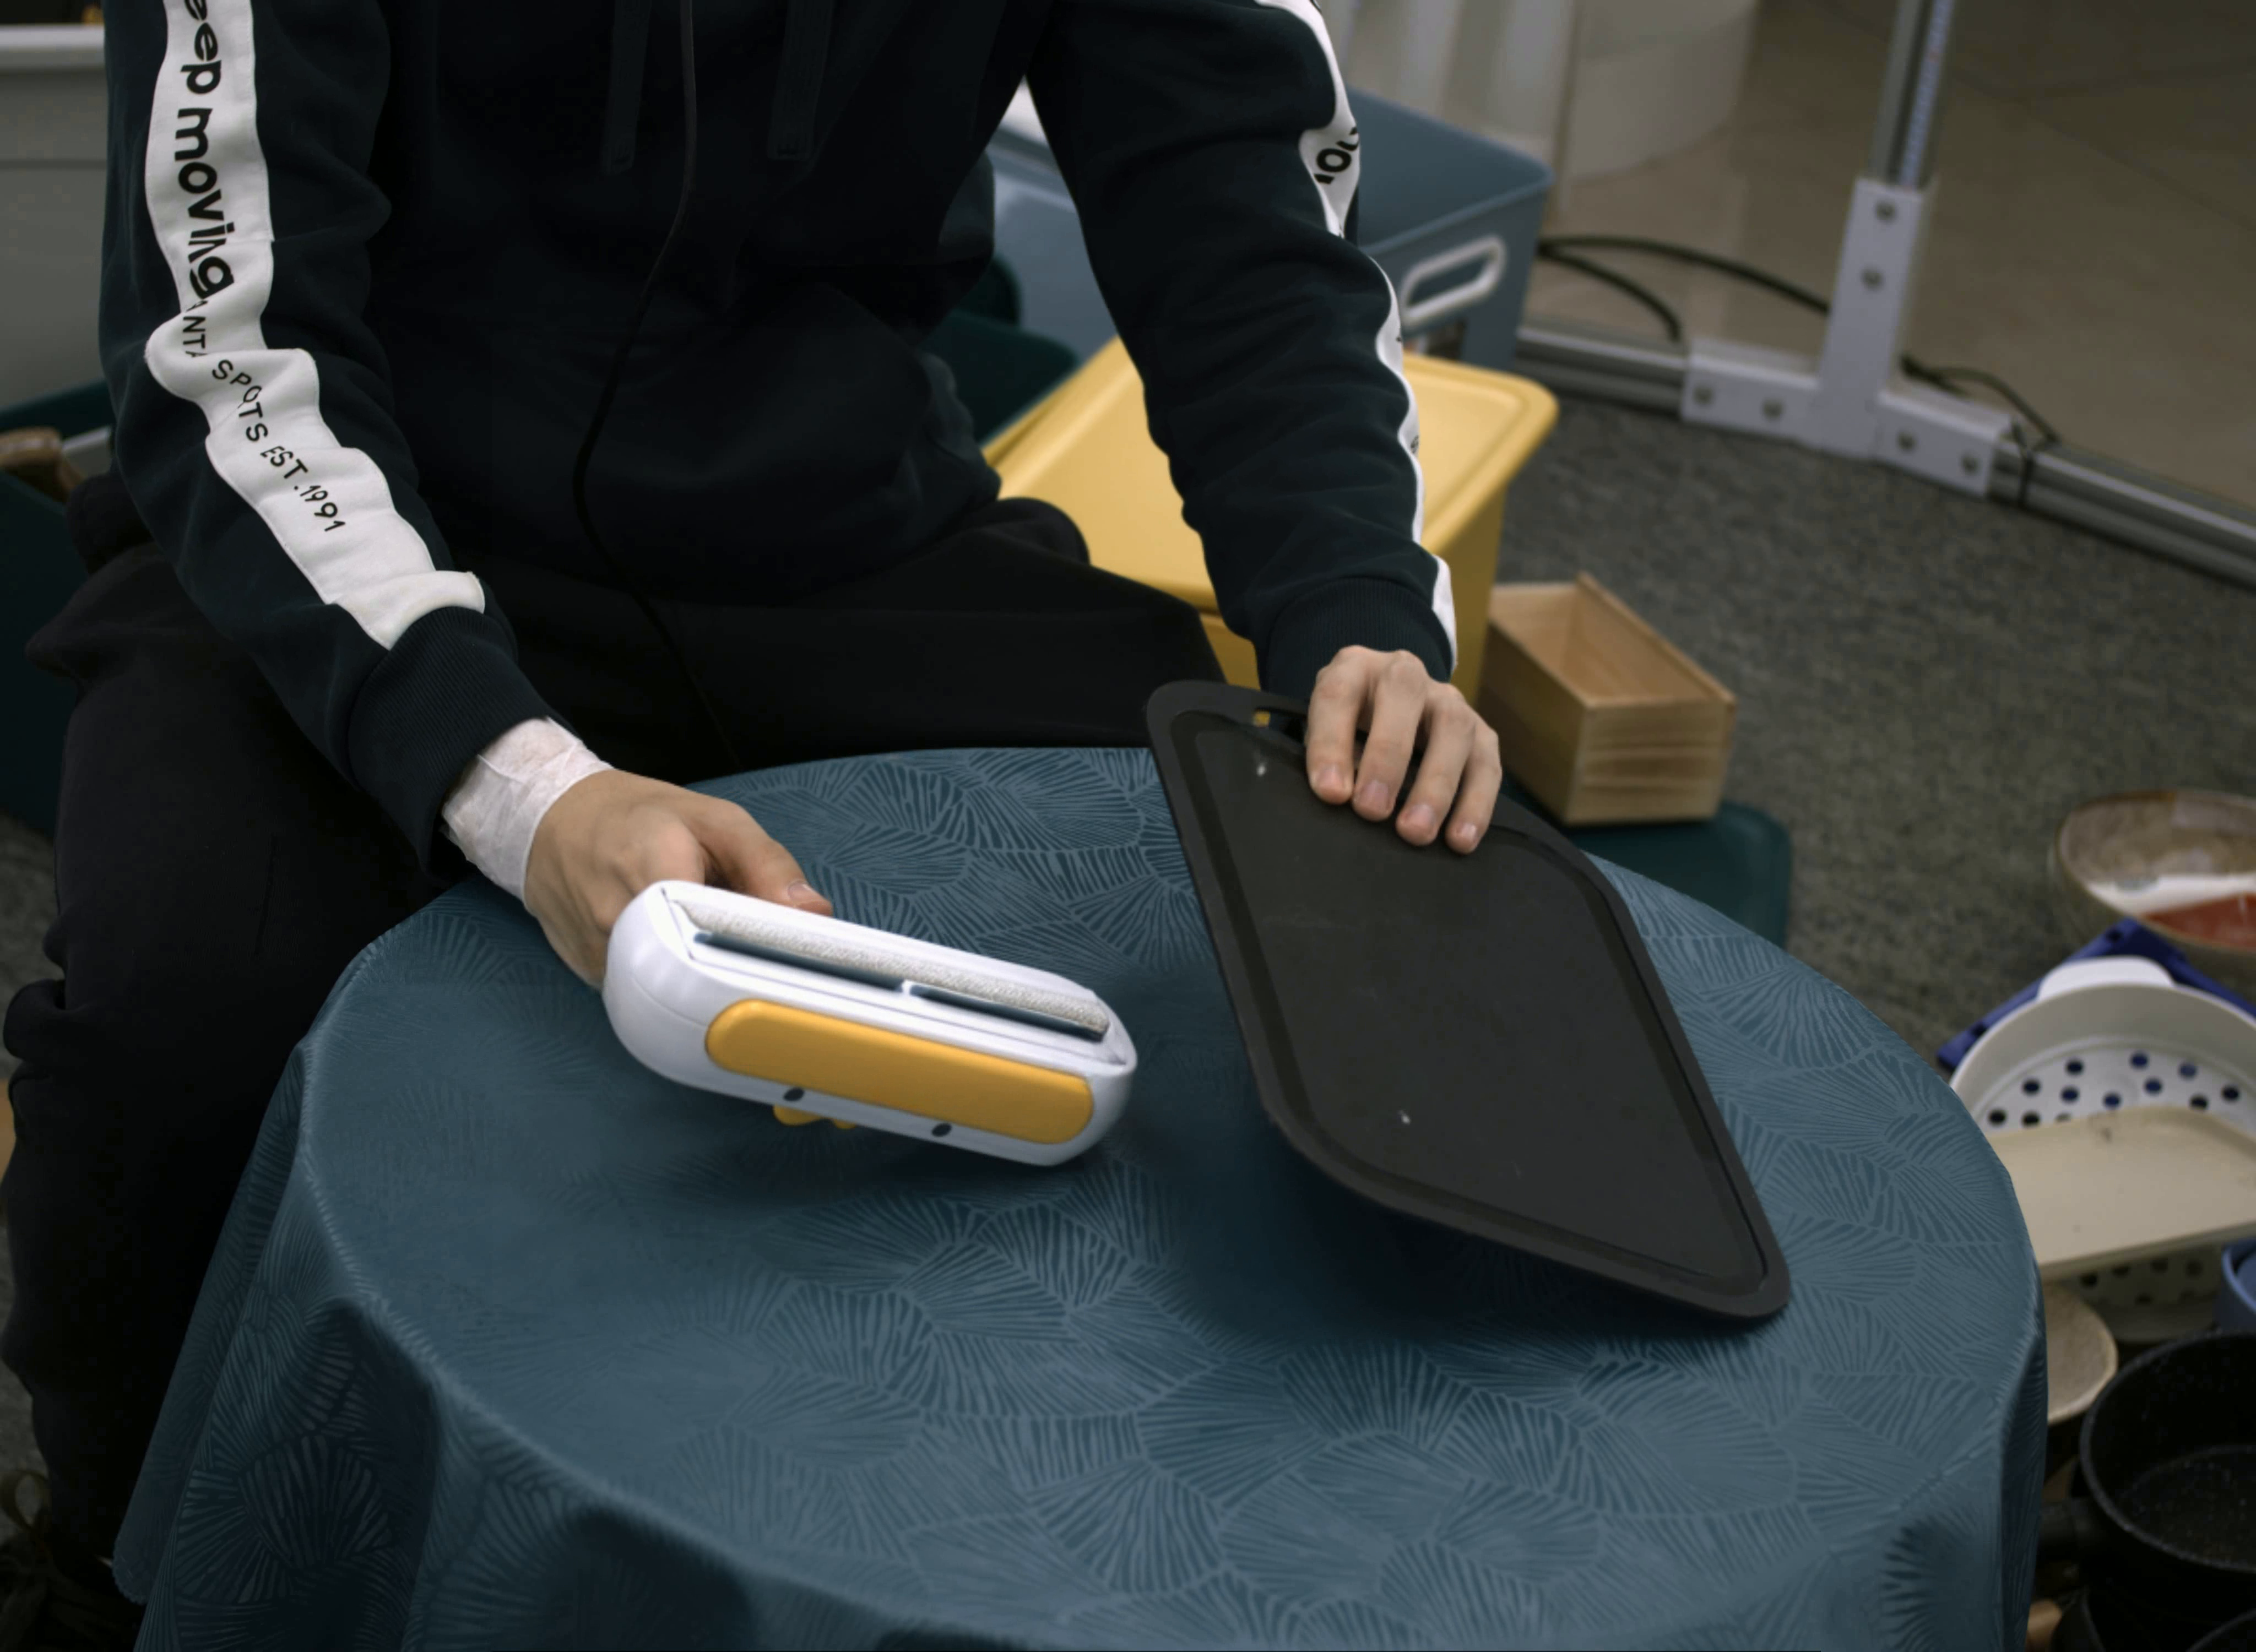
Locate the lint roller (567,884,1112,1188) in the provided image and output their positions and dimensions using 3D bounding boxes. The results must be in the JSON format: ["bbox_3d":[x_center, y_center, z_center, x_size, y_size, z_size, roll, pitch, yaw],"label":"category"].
[{"bbox_3d":[-0.118,0.066,1.830,0.191,0.074,0.193,15,5,-23],"label":"lint roller"}]

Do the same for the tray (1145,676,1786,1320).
[{"bbox_3d":[0.112,0.049,1.853,0.209,0.010,0.328,20,28,-22],"label":"tray"}]
